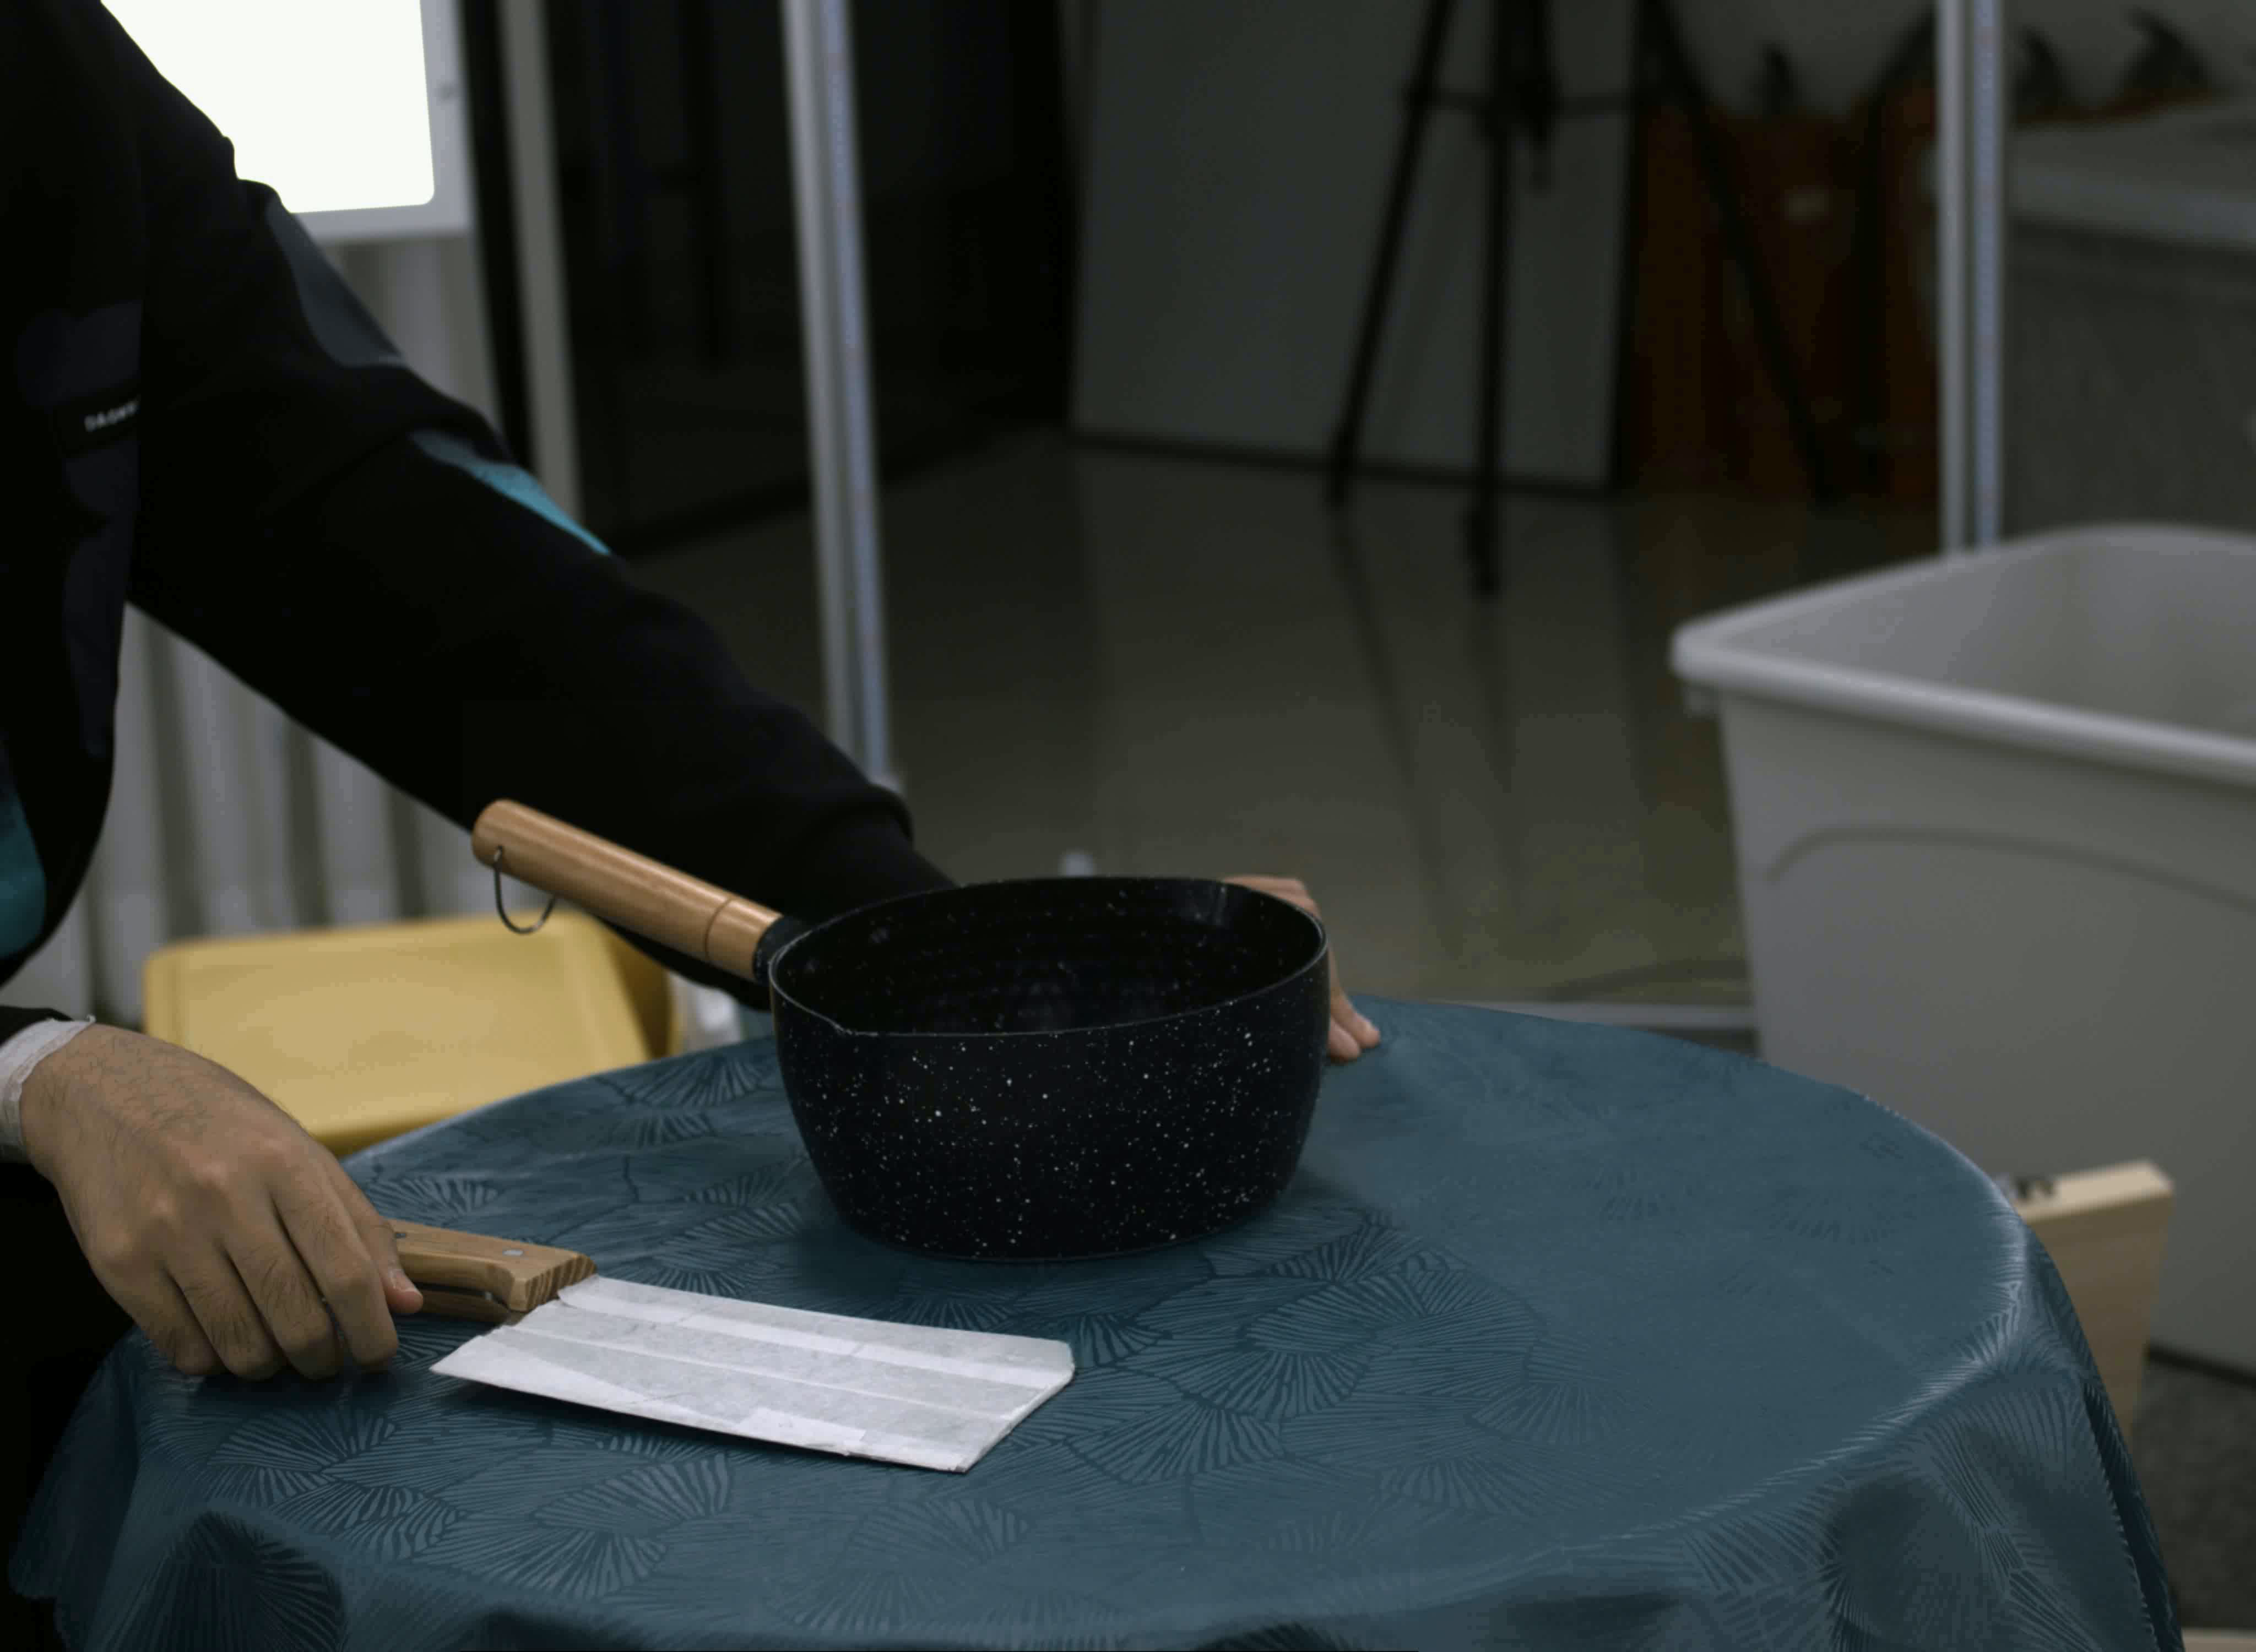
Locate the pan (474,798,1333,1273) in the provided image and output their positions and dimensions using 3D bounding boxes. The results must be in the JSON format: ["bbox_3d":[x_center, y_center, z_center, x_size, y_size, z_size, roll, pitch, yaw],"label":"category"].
[{"bbox_3d":[-0.087,0.062,1.807,0.345,0.109,0.204,7,19,35],"label":"pan"}]

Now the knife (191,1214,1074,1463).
[{"bbox_3d":[-0.158,0.154,1.646,0.317,0.022,0.112,8,18,32],"label":"knife"}]
